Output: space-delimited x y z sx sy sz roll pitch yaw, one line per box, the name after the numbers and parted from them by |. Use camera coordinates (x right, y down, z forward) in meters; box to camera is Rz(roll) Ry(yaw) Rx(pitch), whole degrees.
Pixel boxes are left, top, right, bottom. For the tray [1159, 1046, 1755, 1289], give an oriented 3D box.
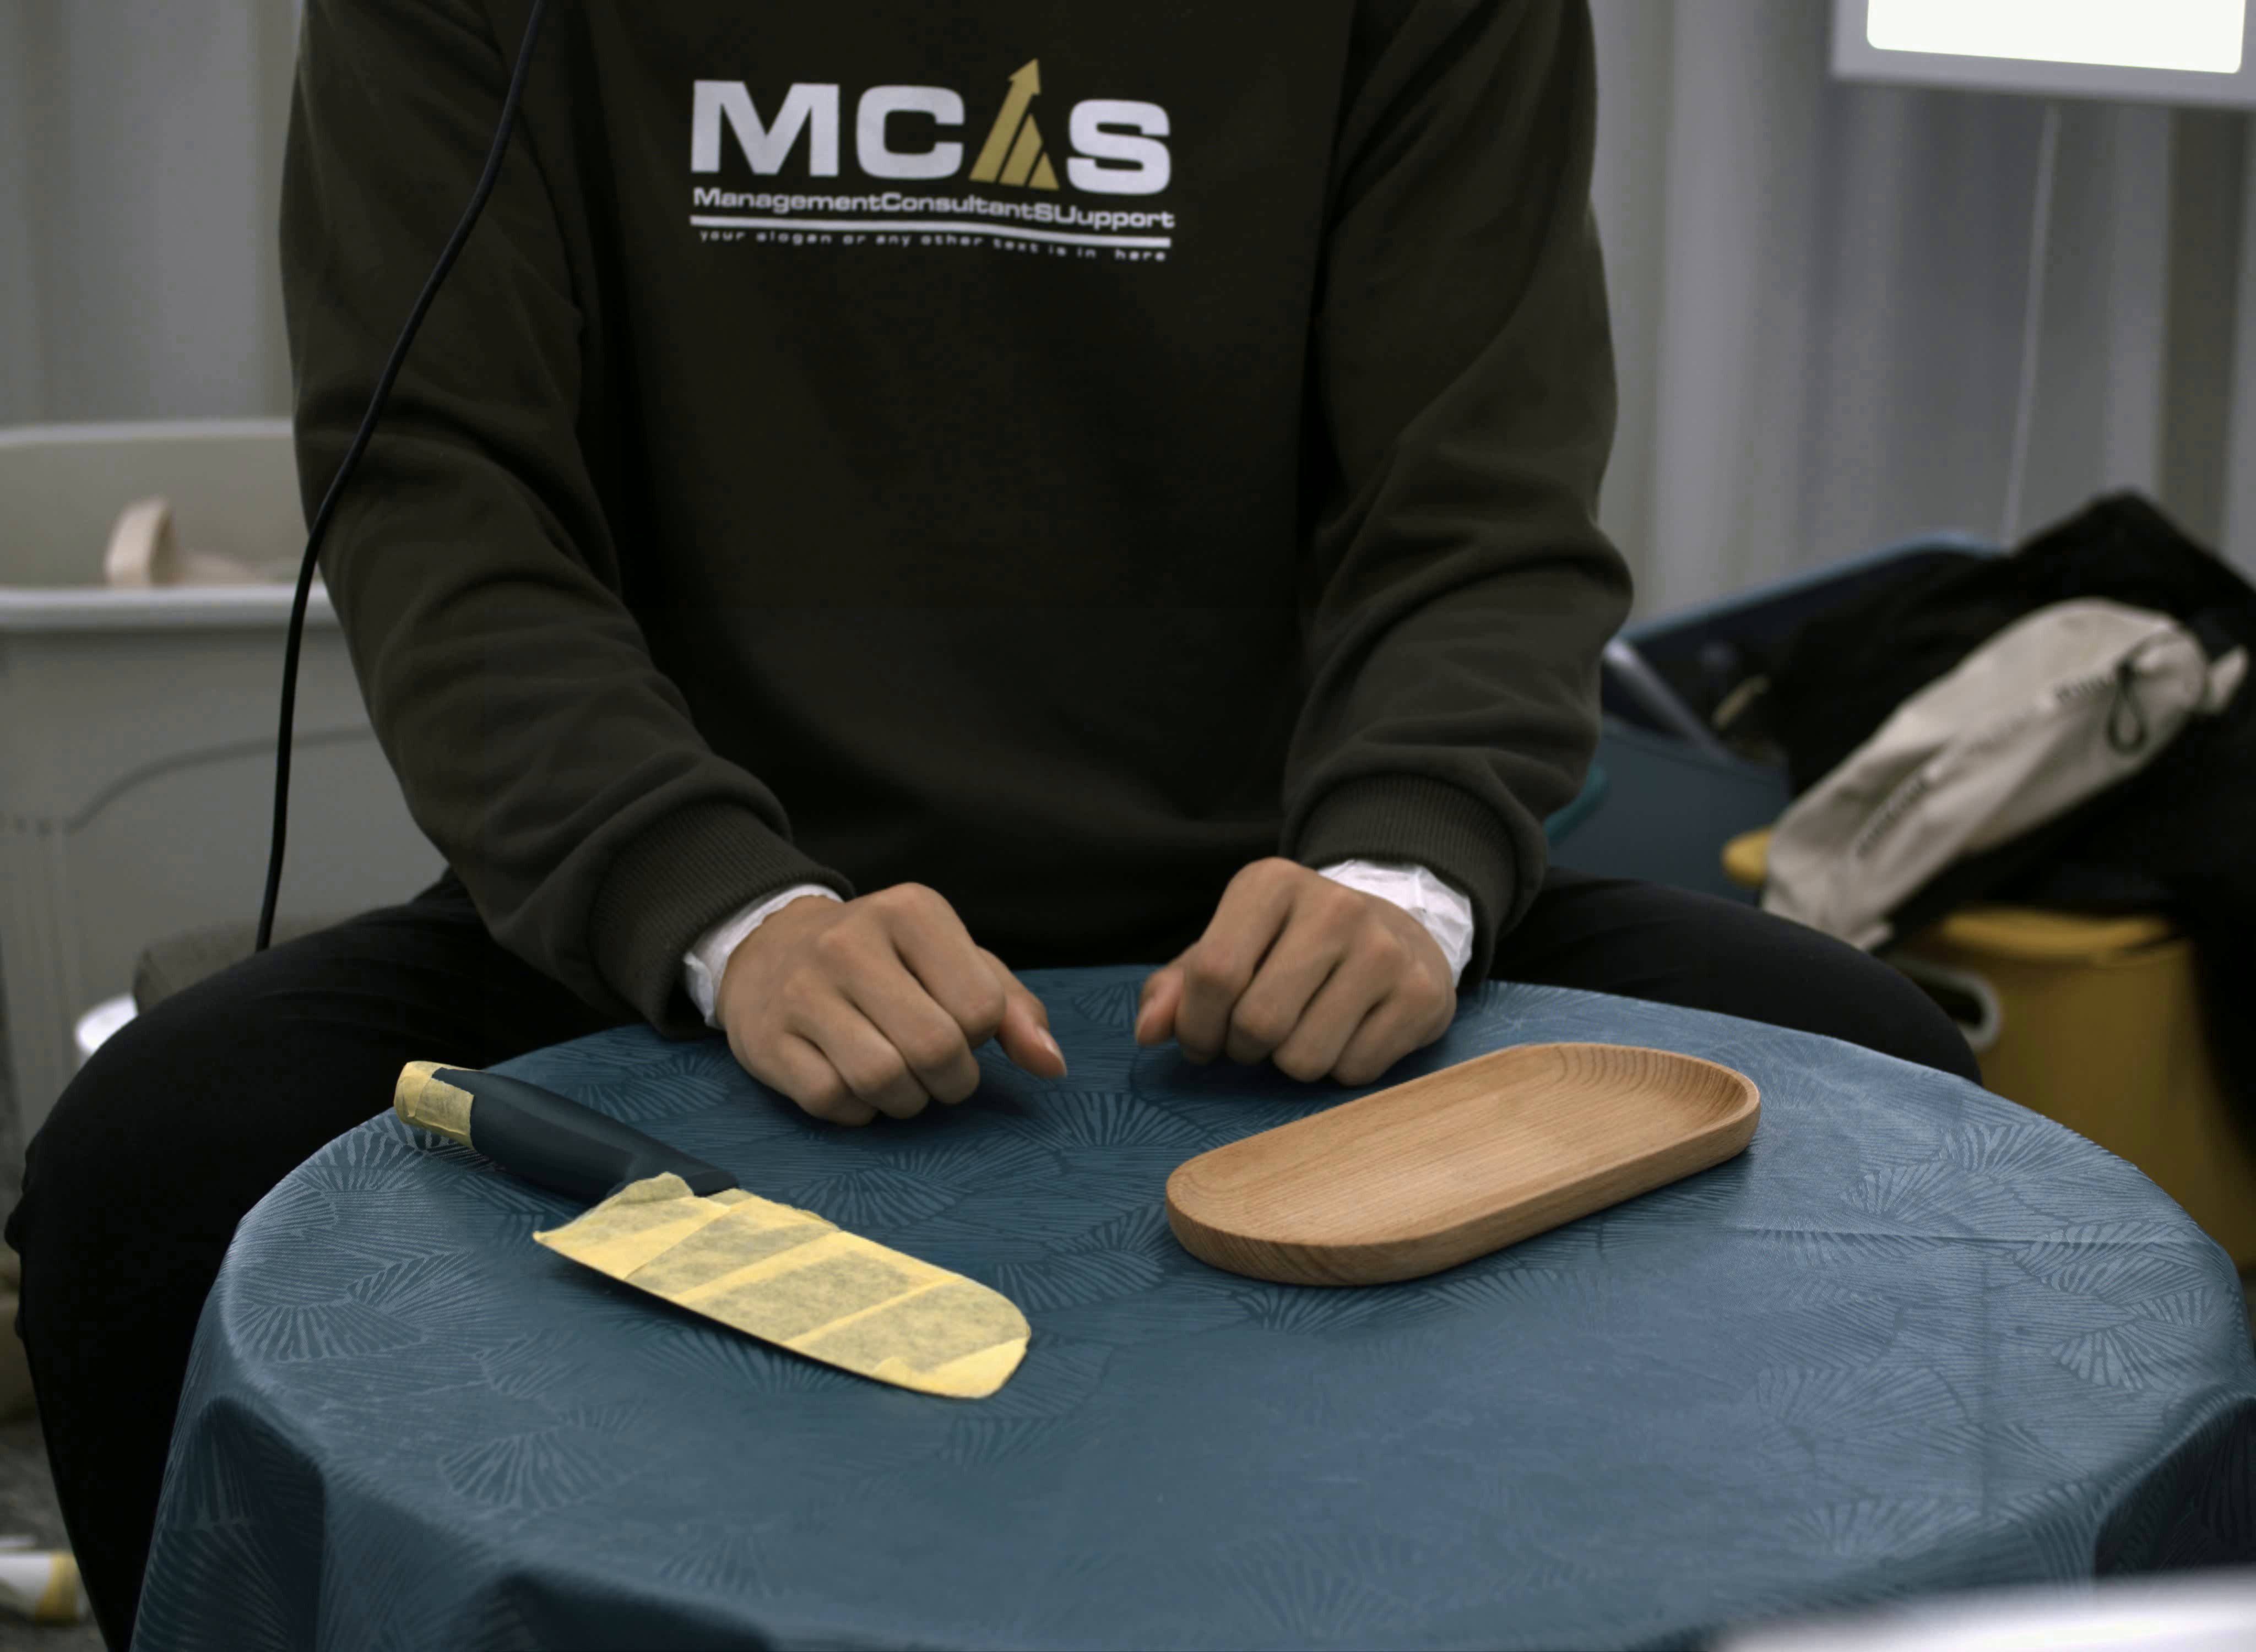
0.104 0.104 1.628 0.100 0.020 0.232 12 20 41 | tray

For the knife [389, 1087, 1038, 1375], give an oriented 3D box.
-0.133 0.121 1.559 0.285 0.027 0.081 16 21 42 | knife
